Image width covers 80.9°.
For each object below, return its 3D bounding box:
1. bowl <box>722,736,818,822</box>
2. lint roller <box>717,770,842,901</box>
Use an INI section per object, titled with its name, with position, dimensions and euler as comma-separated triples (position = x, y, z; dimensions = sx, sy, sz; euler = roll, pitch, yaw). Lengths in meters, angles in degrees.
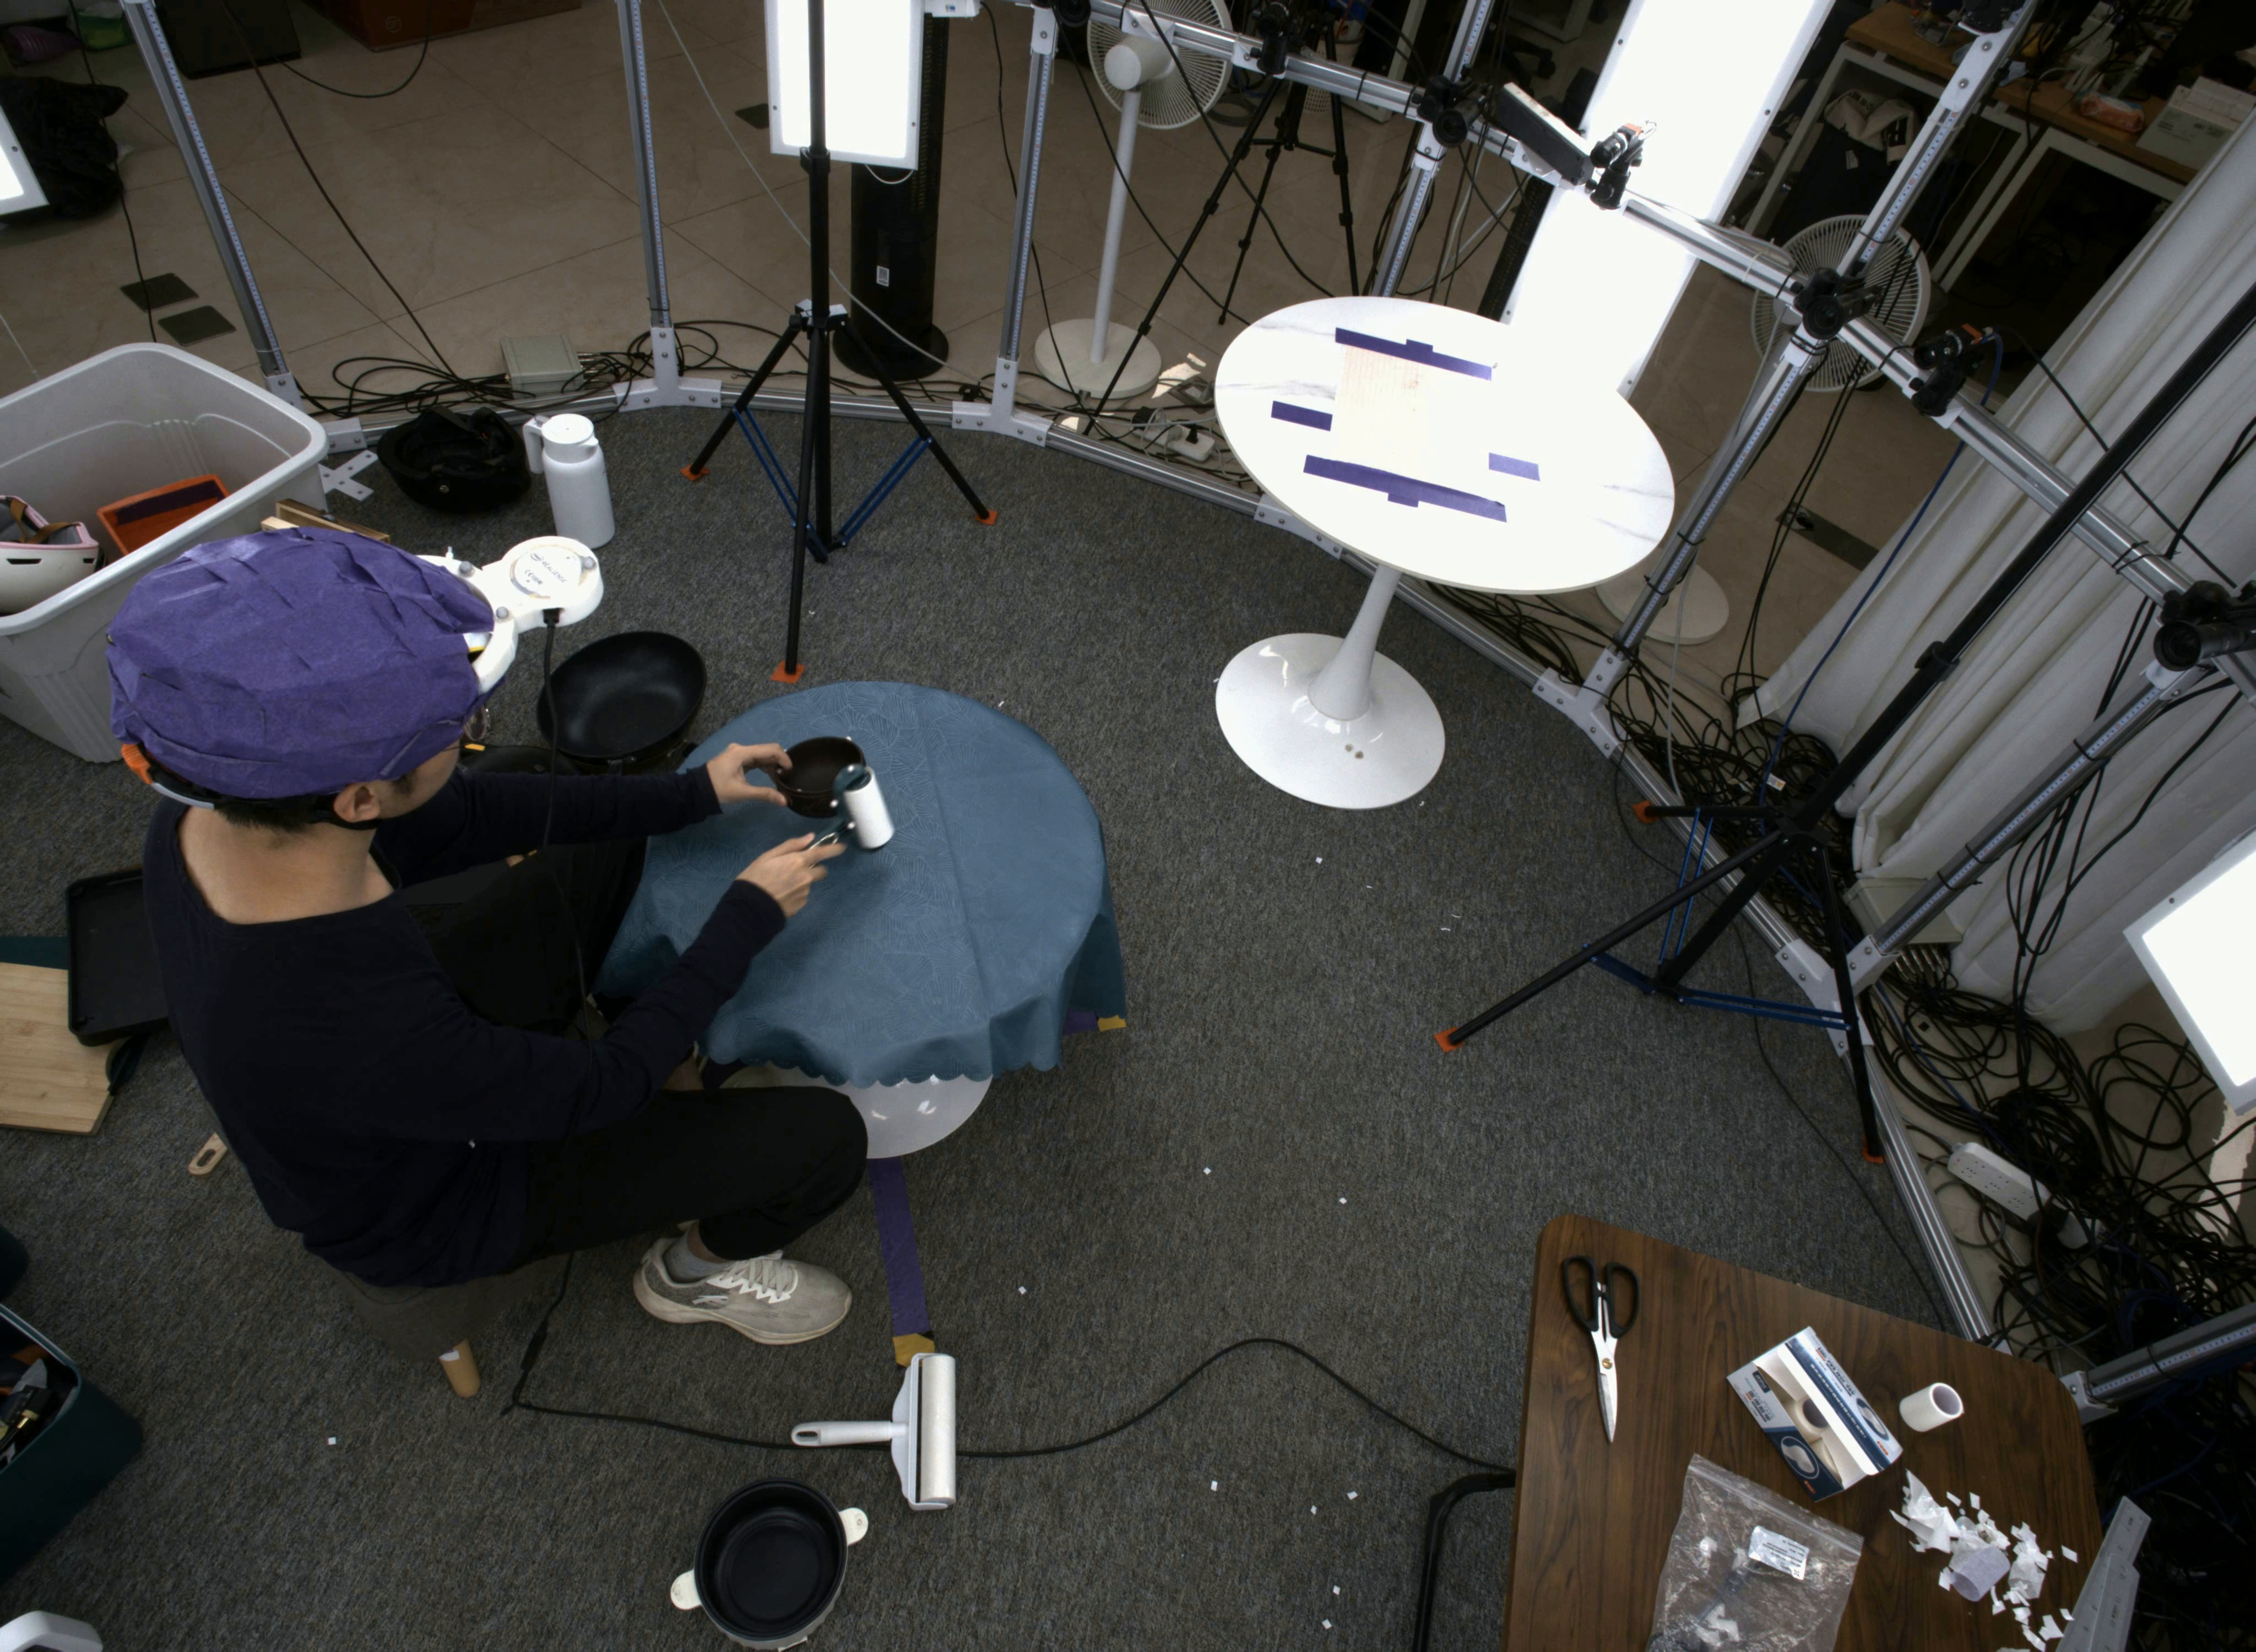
[bowl]
position = -0.454, -0.052, 1.660
dimensions = 0.116, 0.072, 0.115
euler = -1, 46, 3
[lint roller]
position = -0.428, 0.030, 1.587
dimensions = 0.047, 0.139, 0.179
euler = 19, 53, 24
